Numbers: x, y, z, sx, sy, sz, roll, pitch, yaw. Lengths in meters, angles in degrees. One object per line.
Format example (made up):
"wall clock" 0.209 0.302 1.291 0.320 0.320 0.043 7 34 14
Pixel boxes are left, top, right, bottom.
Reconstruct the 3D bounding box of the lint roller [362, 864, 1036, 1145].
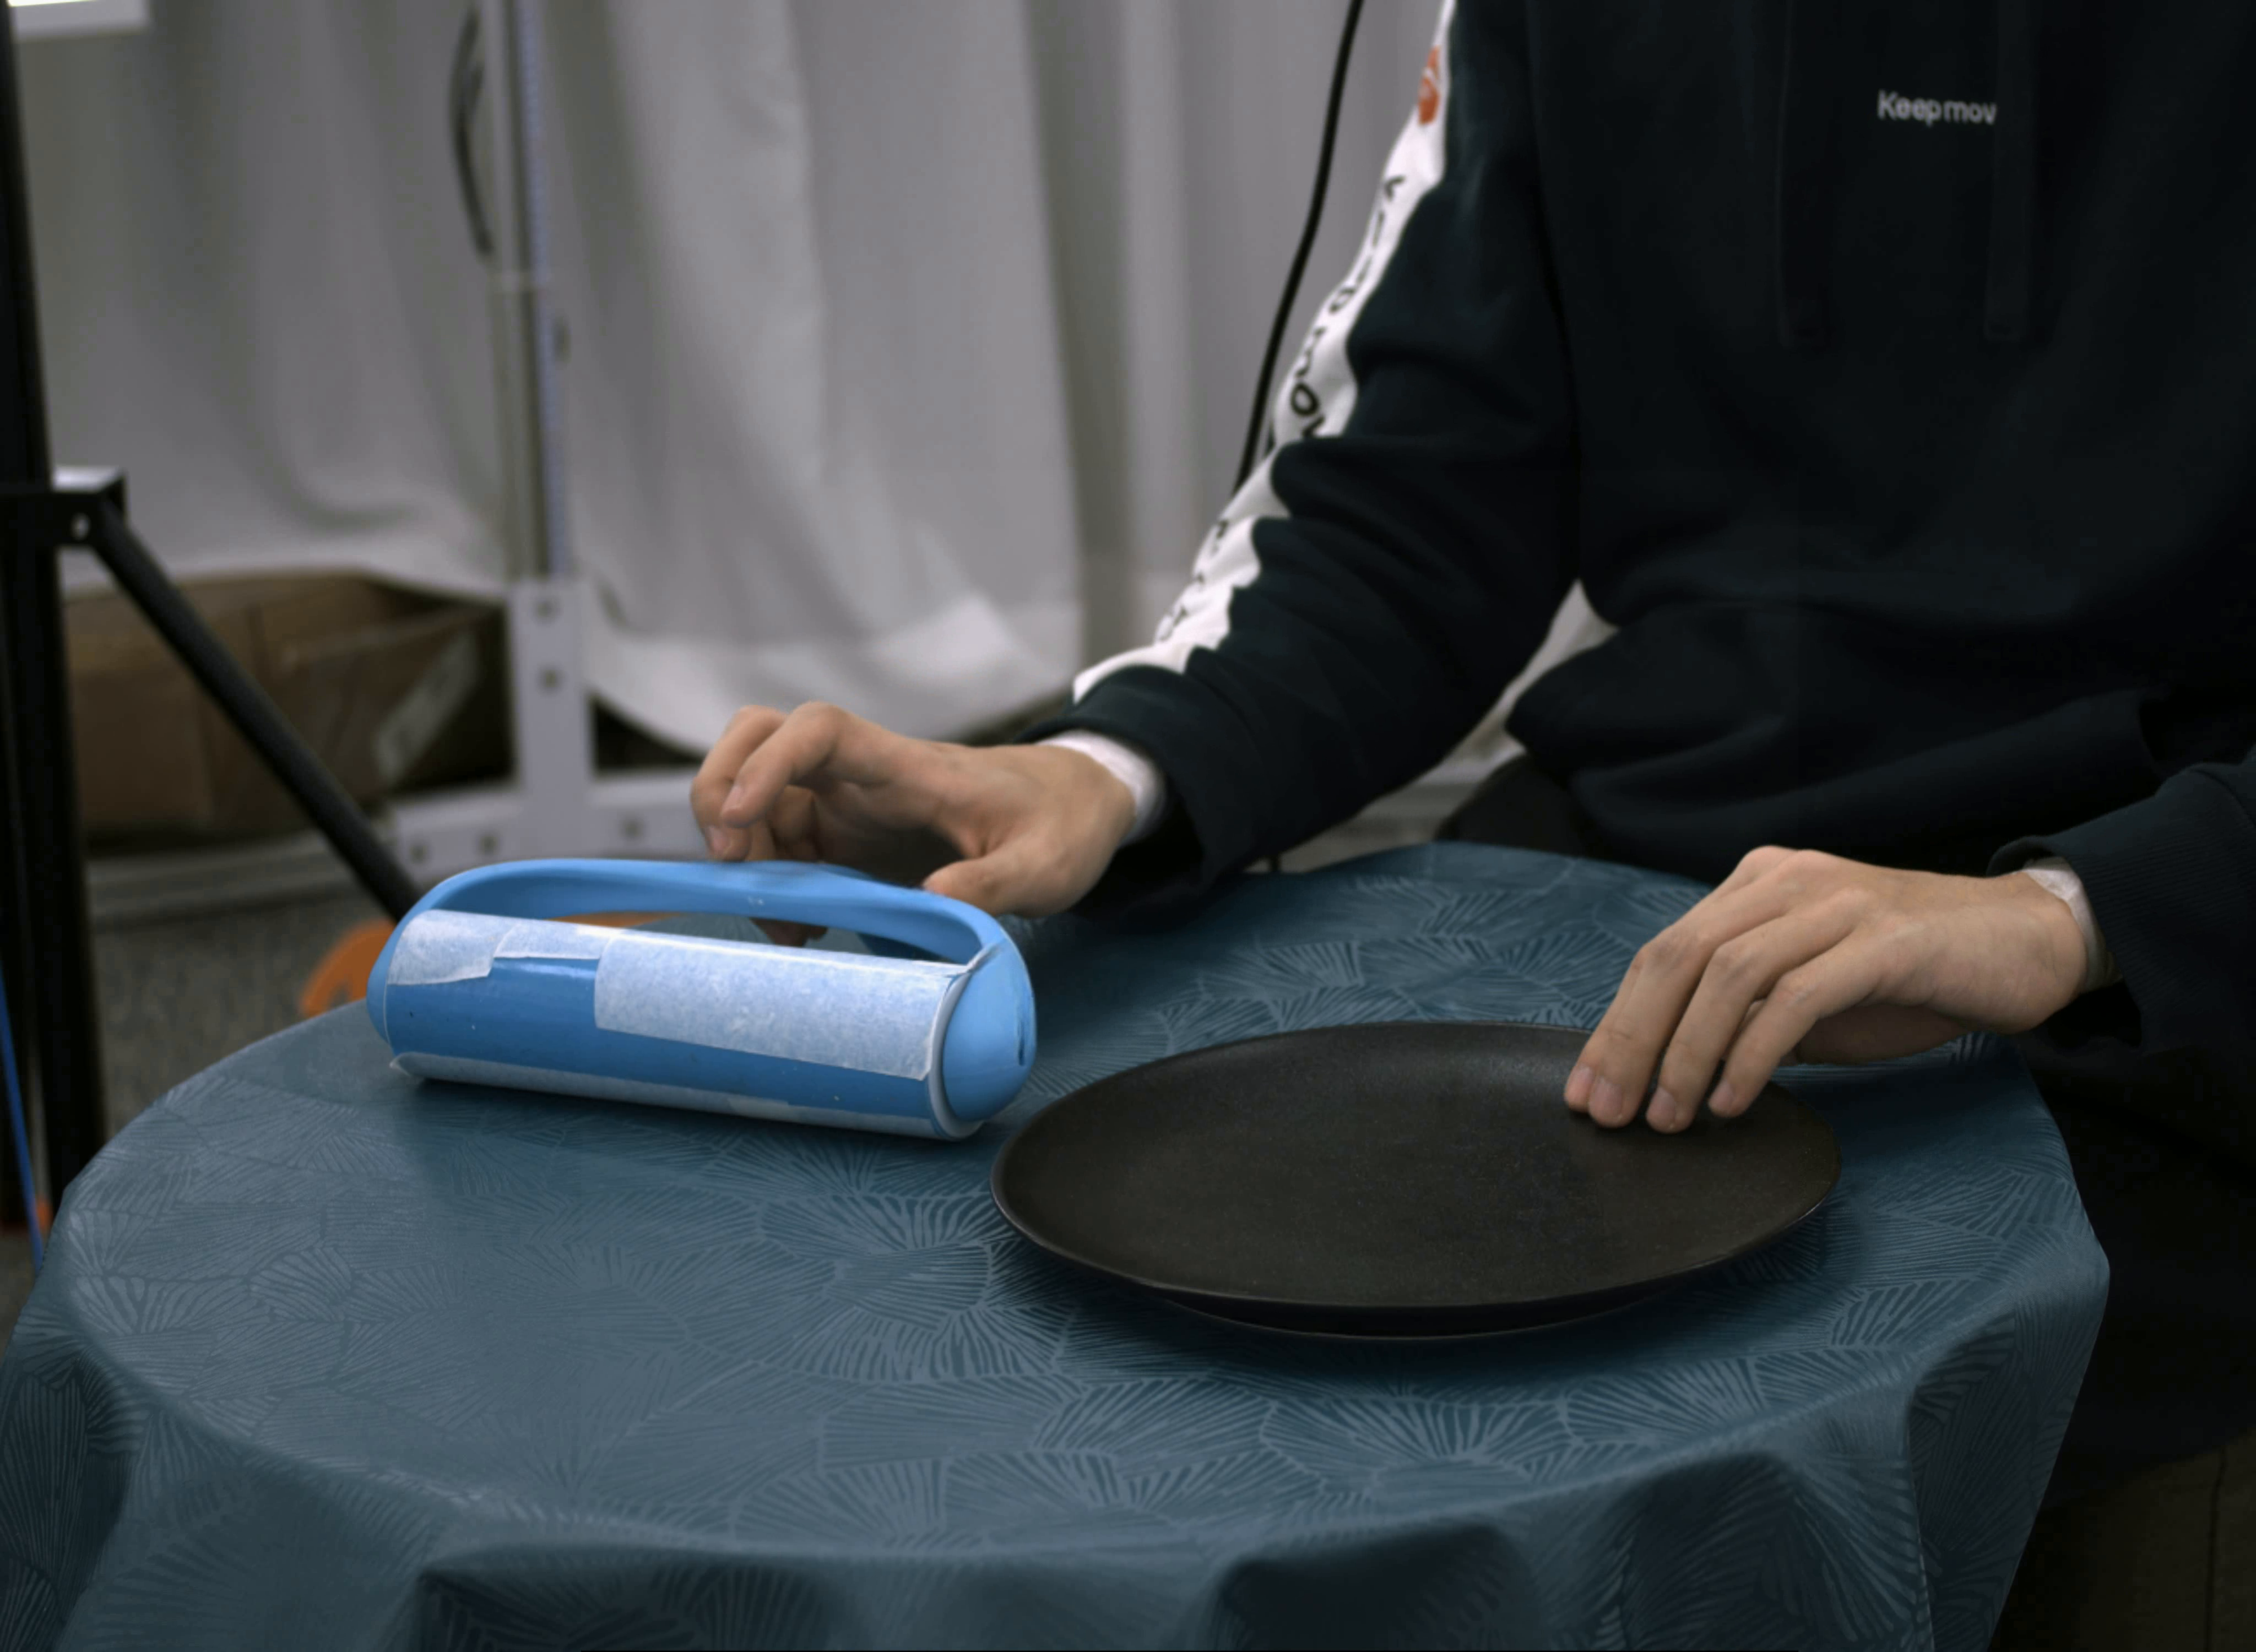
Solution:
"lint roller" -0.113 0.045 1.697 0.232 0.068 0.178 4 16 23

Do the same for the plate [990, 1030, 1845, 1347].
"plate" 0.083 0.105 1.512 0.243 0.023 0.245 -3 16 -1
